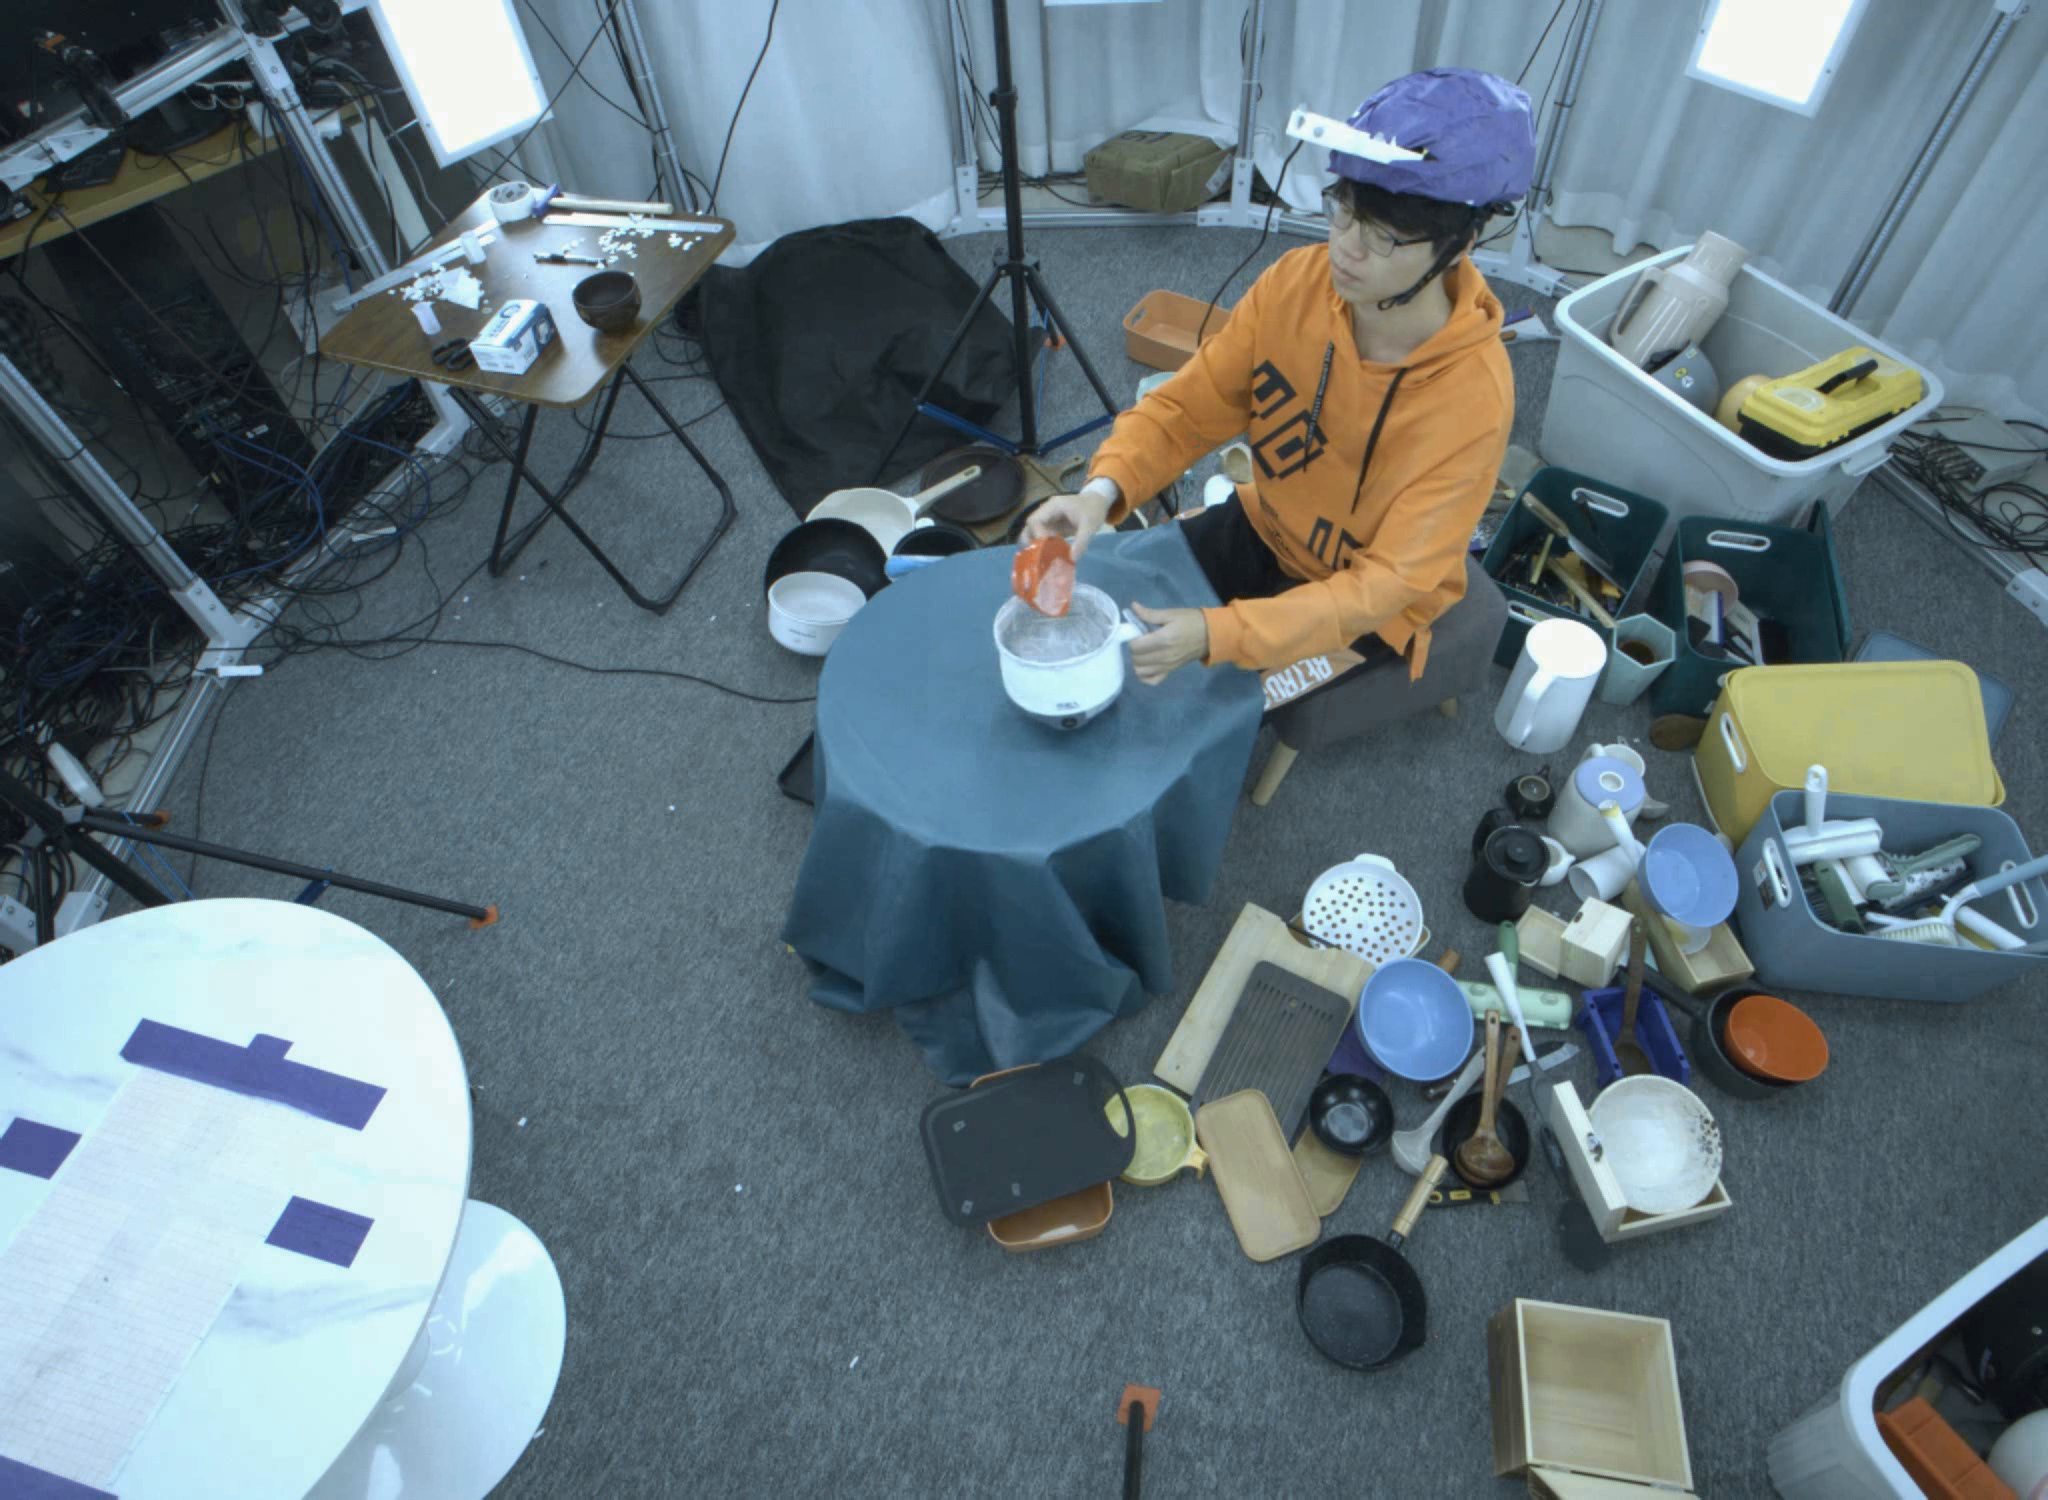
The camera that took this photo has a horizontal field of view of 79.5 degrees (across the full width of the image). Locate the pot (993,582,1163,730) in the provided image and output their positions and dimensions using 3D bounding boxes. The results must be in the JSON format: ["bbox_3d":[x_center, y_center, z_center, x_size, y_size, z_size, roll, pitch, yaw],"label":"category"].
[{"bbox_3d":[0.080,-0.139,1.758,0.234,0.138,0.176,-9,48,1],"label":"pot"}]

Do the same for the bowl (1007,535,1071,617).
[{"bbox_3d":[0.015,-0.238,1.678,0.050,0.121,0.119,6,54,29],"label":"bowl"}]
